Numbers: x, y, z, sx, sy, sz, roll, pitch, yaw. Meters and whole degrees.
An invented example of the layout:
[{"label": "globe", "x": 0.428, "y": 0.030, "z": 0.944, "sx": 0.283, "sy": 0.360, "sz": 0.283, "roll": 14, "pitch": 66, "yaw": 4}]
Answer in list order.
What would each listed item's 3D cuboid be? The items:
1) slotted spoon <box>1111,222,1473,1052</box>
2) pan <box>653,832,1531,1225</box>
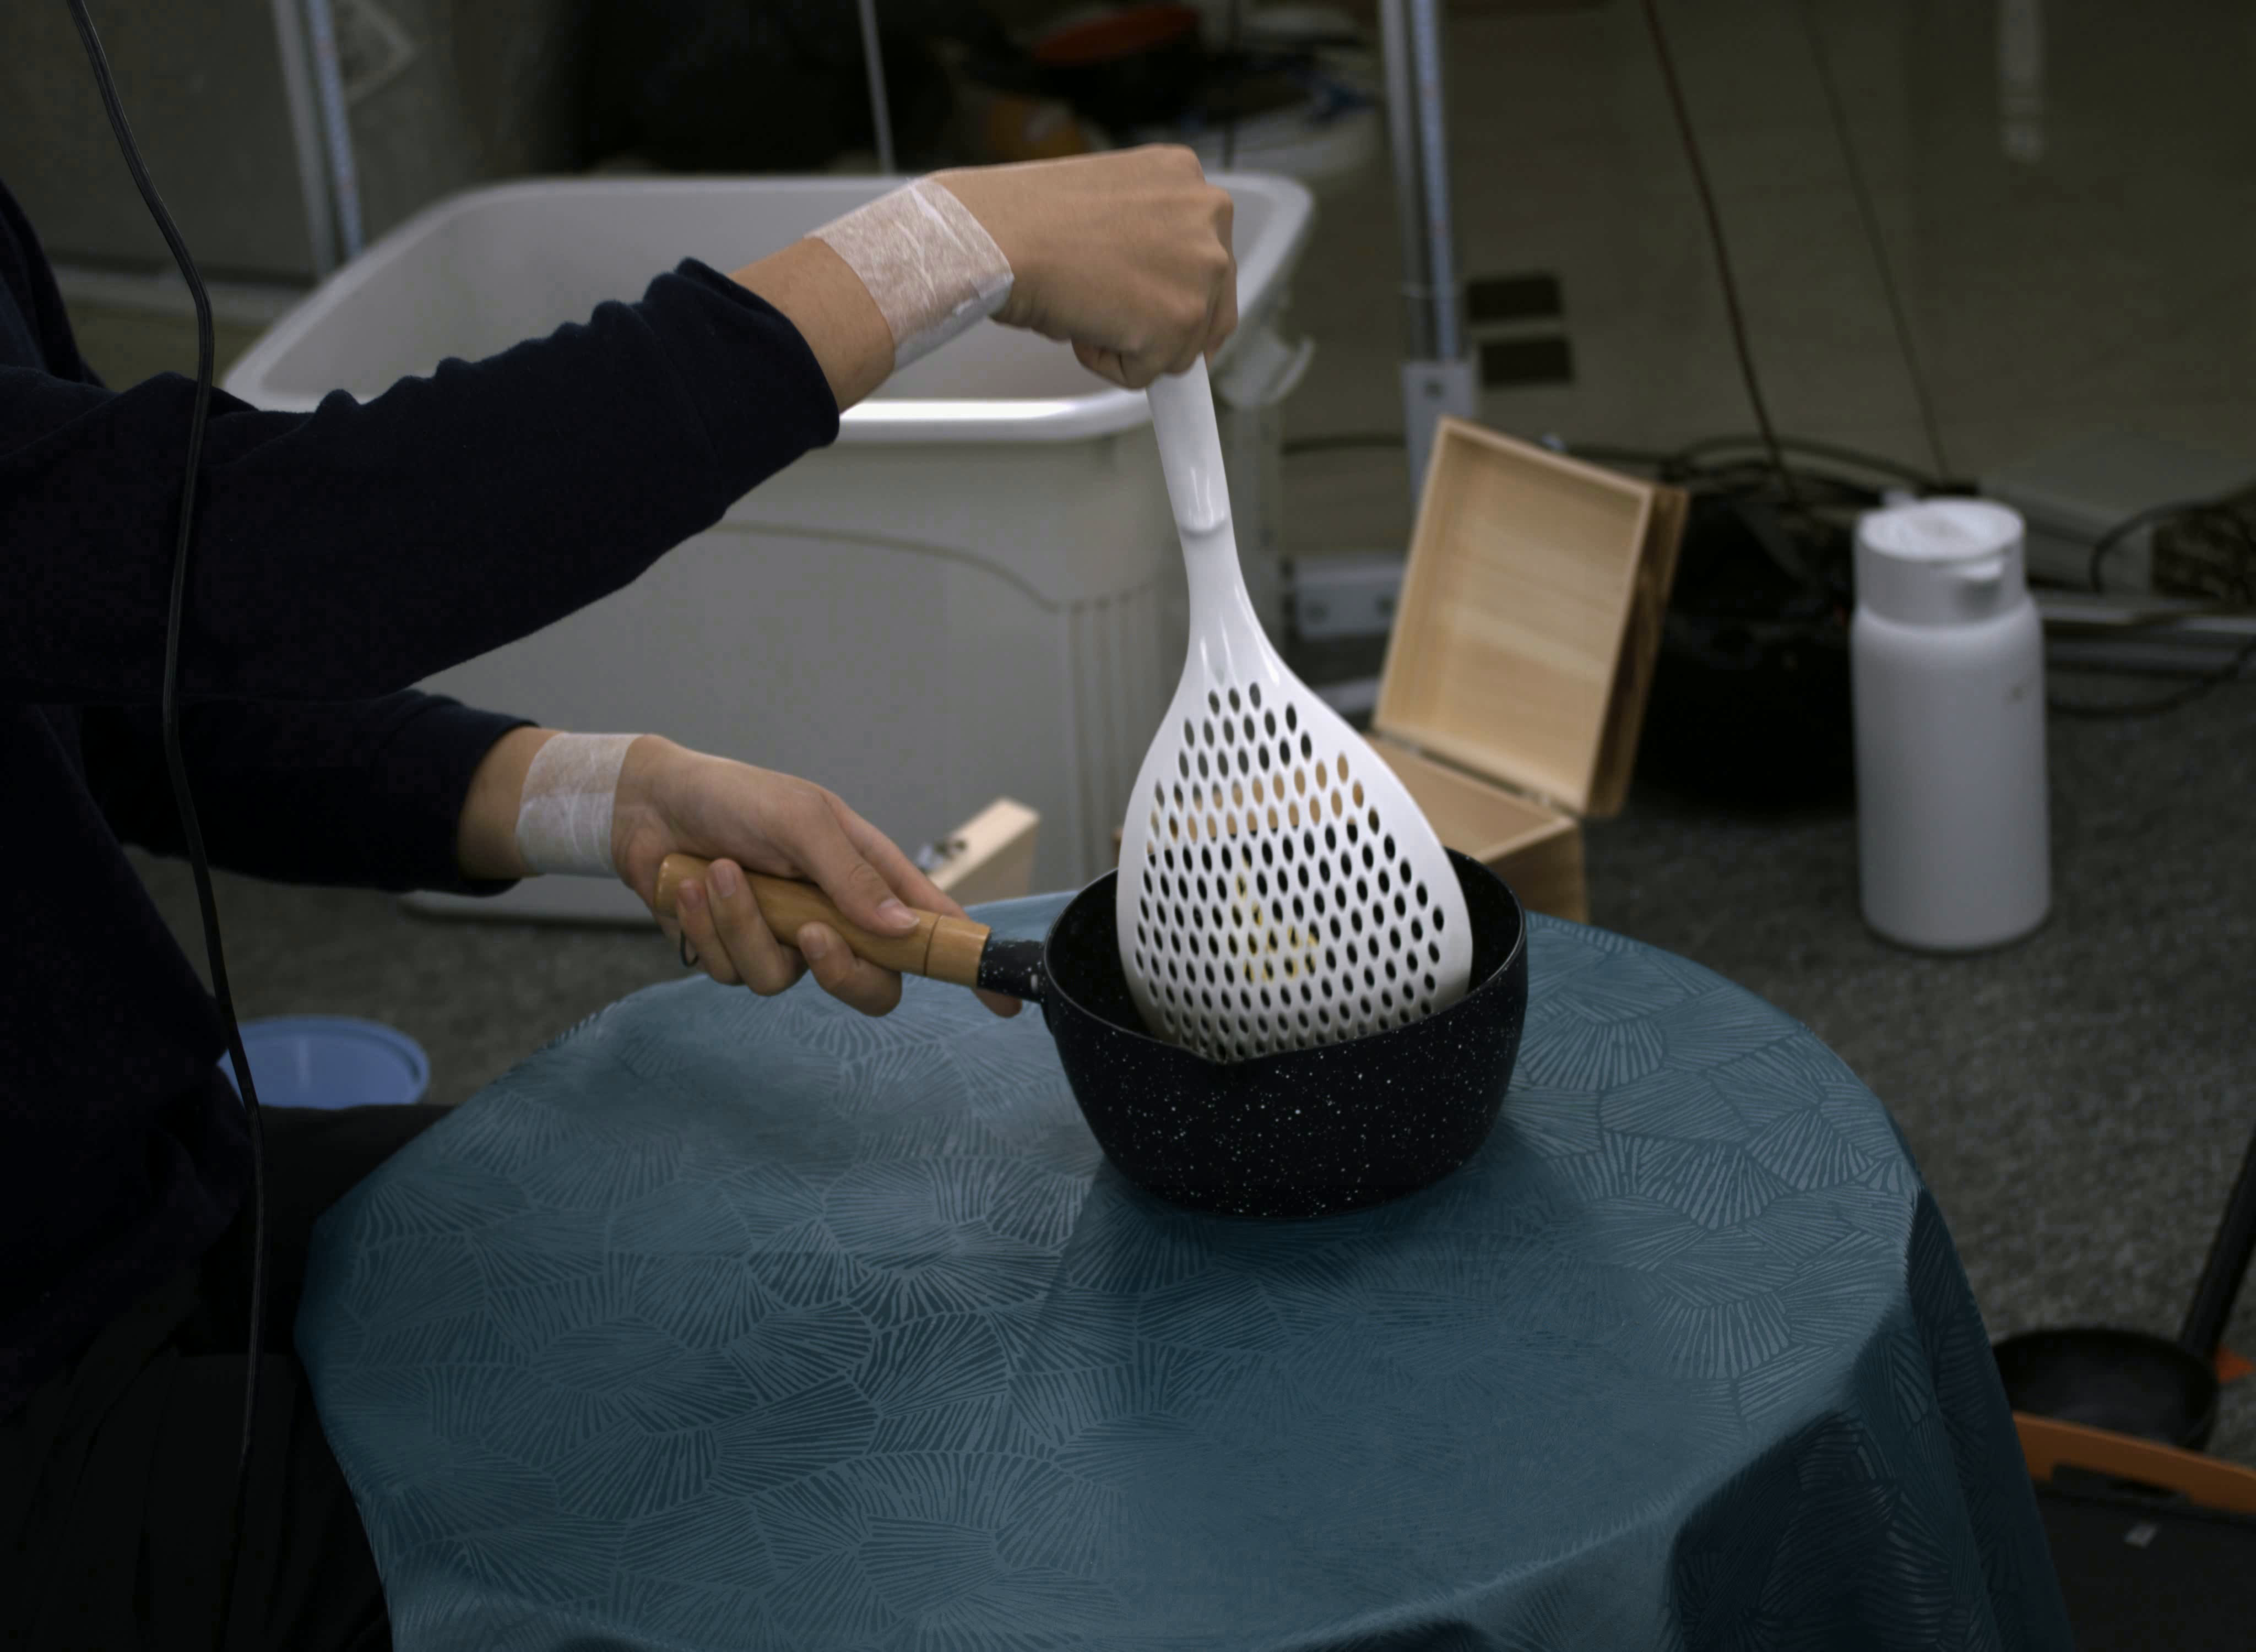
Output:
[{"label": "slotted spoon", "x": 0.039, "y": -0.055, "z": 2.077, "sx": 0.136, "sy": 0.352, "sz": 0.050, "roll": -6, "pitch": 18, "yaw": 13}, {"label": "pan", "x": -0.016, "y": 0.066, "z": 2.170, "sx": 0.342, "sy": 0.110, "sz": 0.204, "roll": 2, "pitch": 28, "yaw": 12}]
